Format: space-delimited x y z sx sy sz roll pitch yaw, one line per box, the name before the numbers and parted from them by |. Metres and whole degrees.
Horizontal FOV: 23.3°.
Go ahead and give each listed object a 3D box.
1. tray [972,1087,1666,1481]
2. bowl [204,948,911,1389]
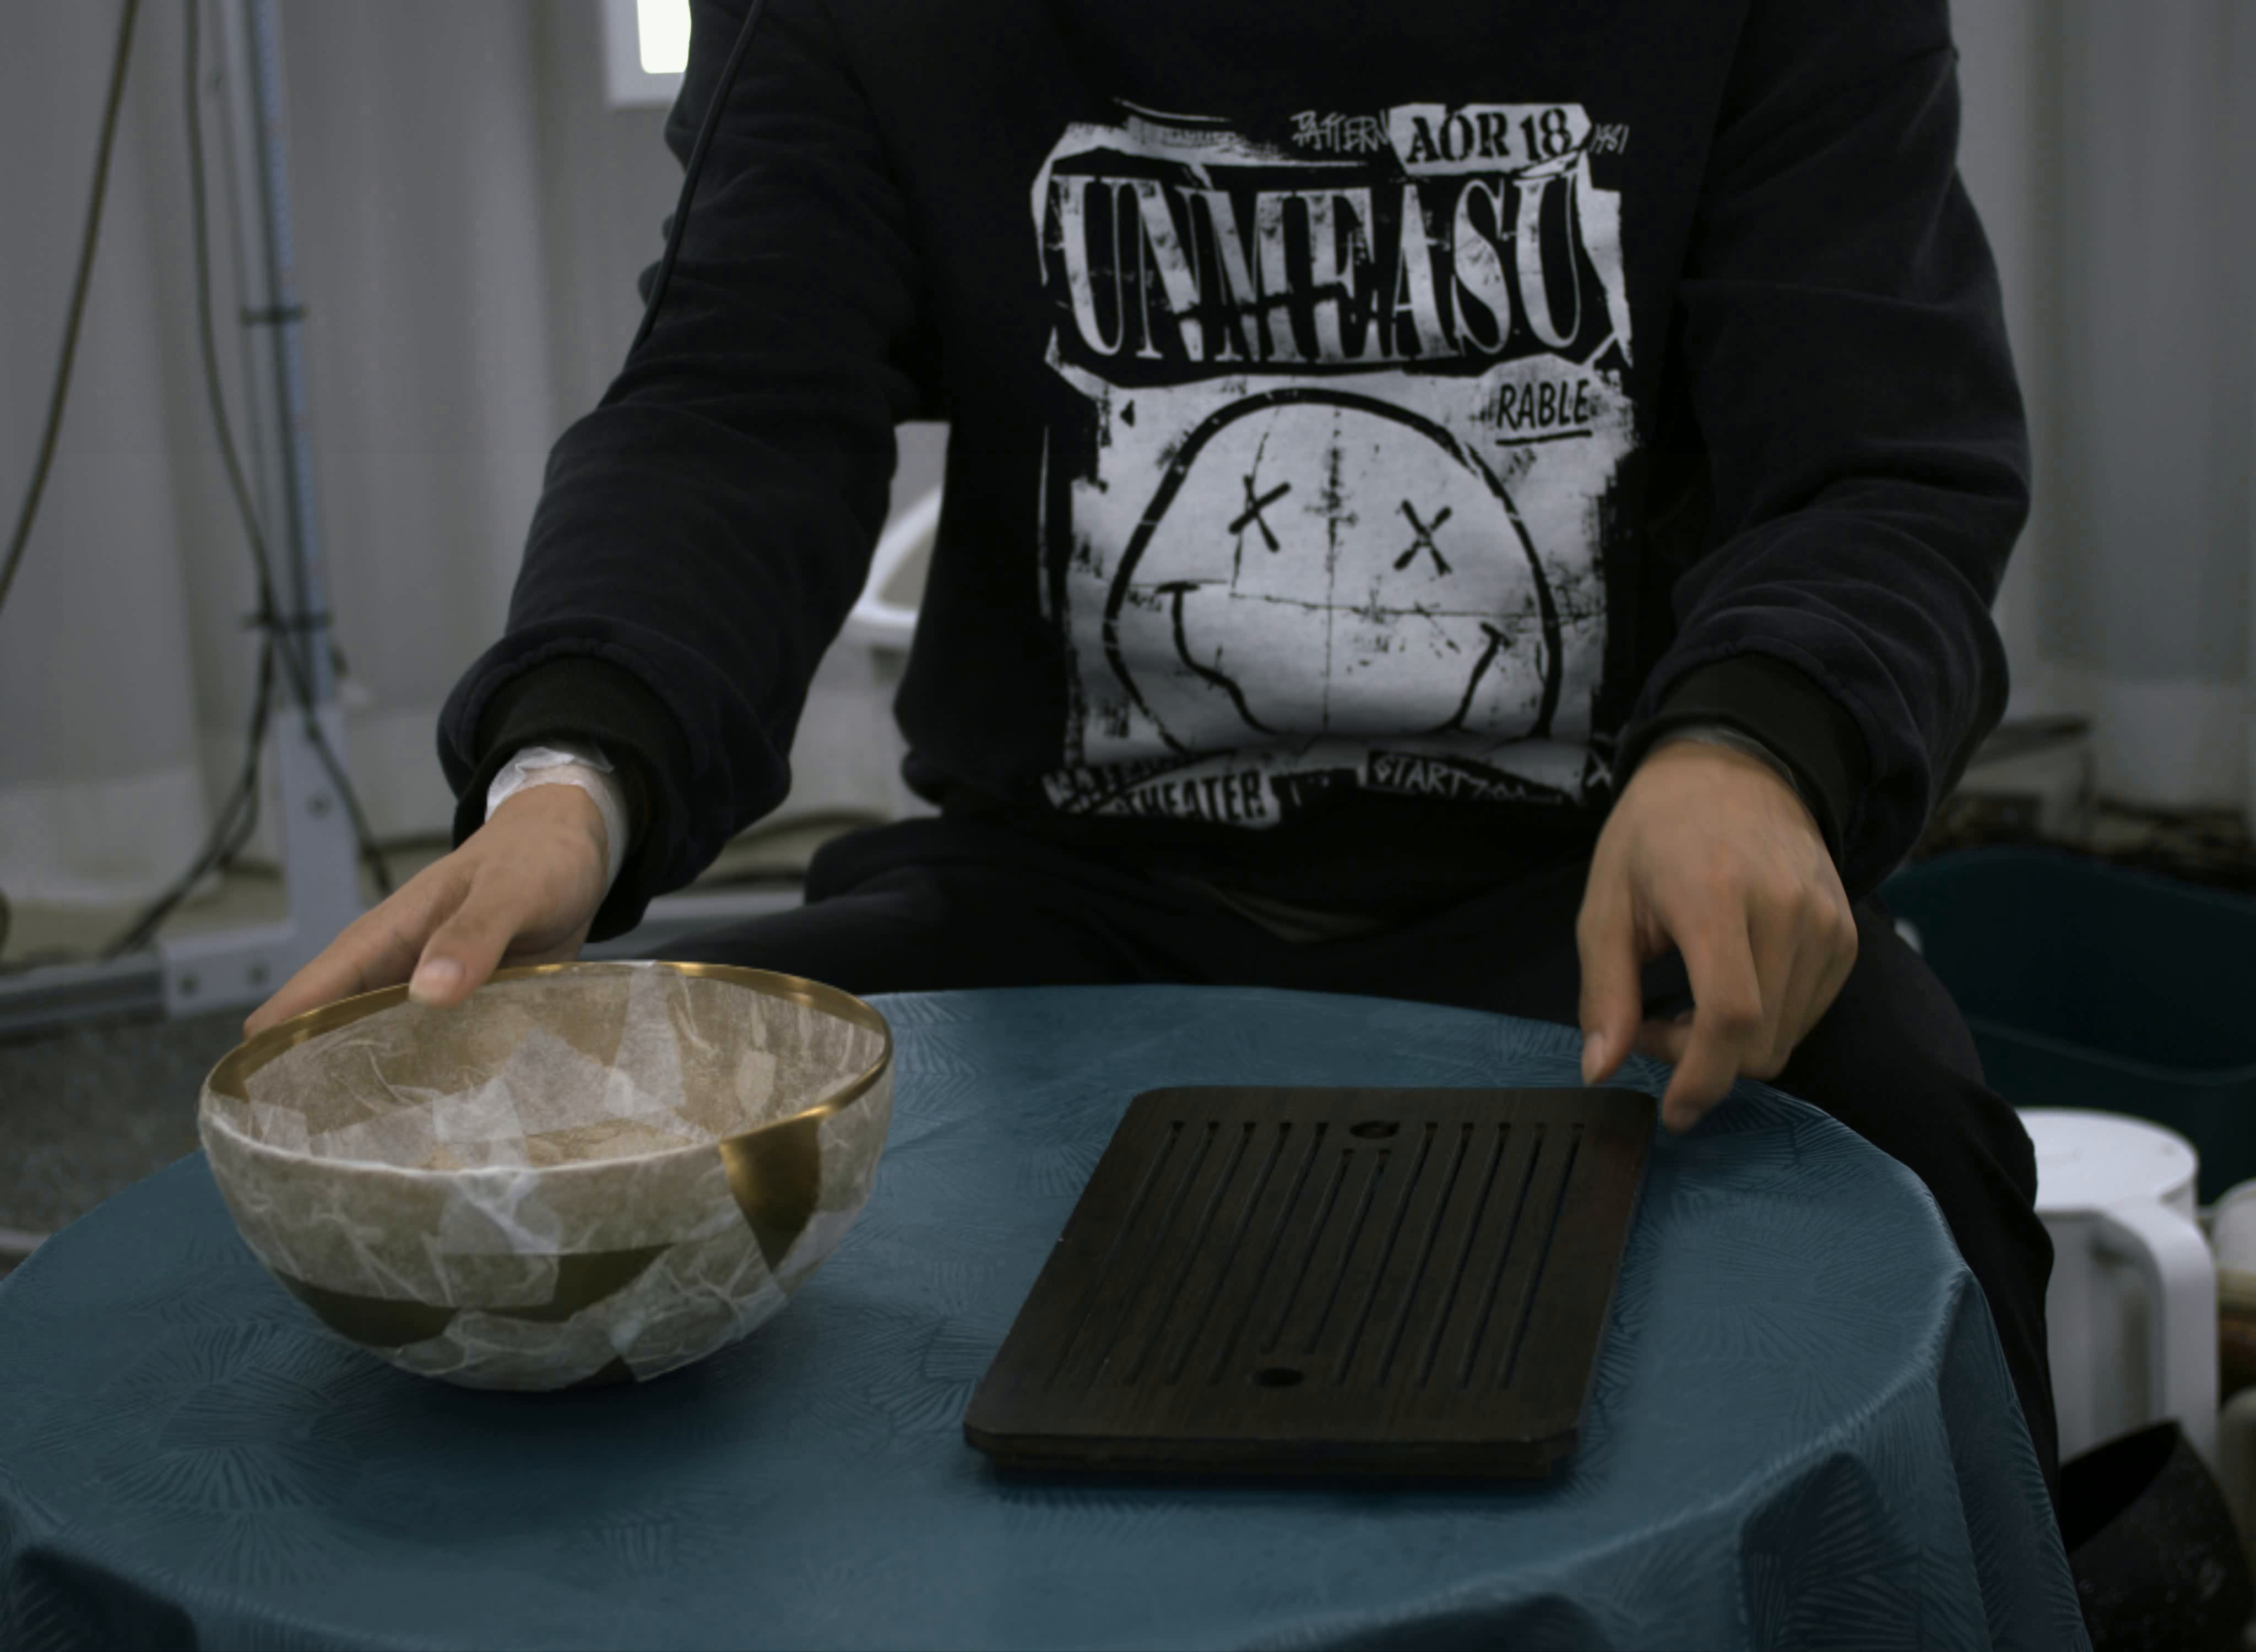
tray | 0.064 0.132 1.605 0.170 0.018 0.307 0 15 10
bowl | -0.161 0.108 1.591 0.214 0.094 0.216 -3 15 1
